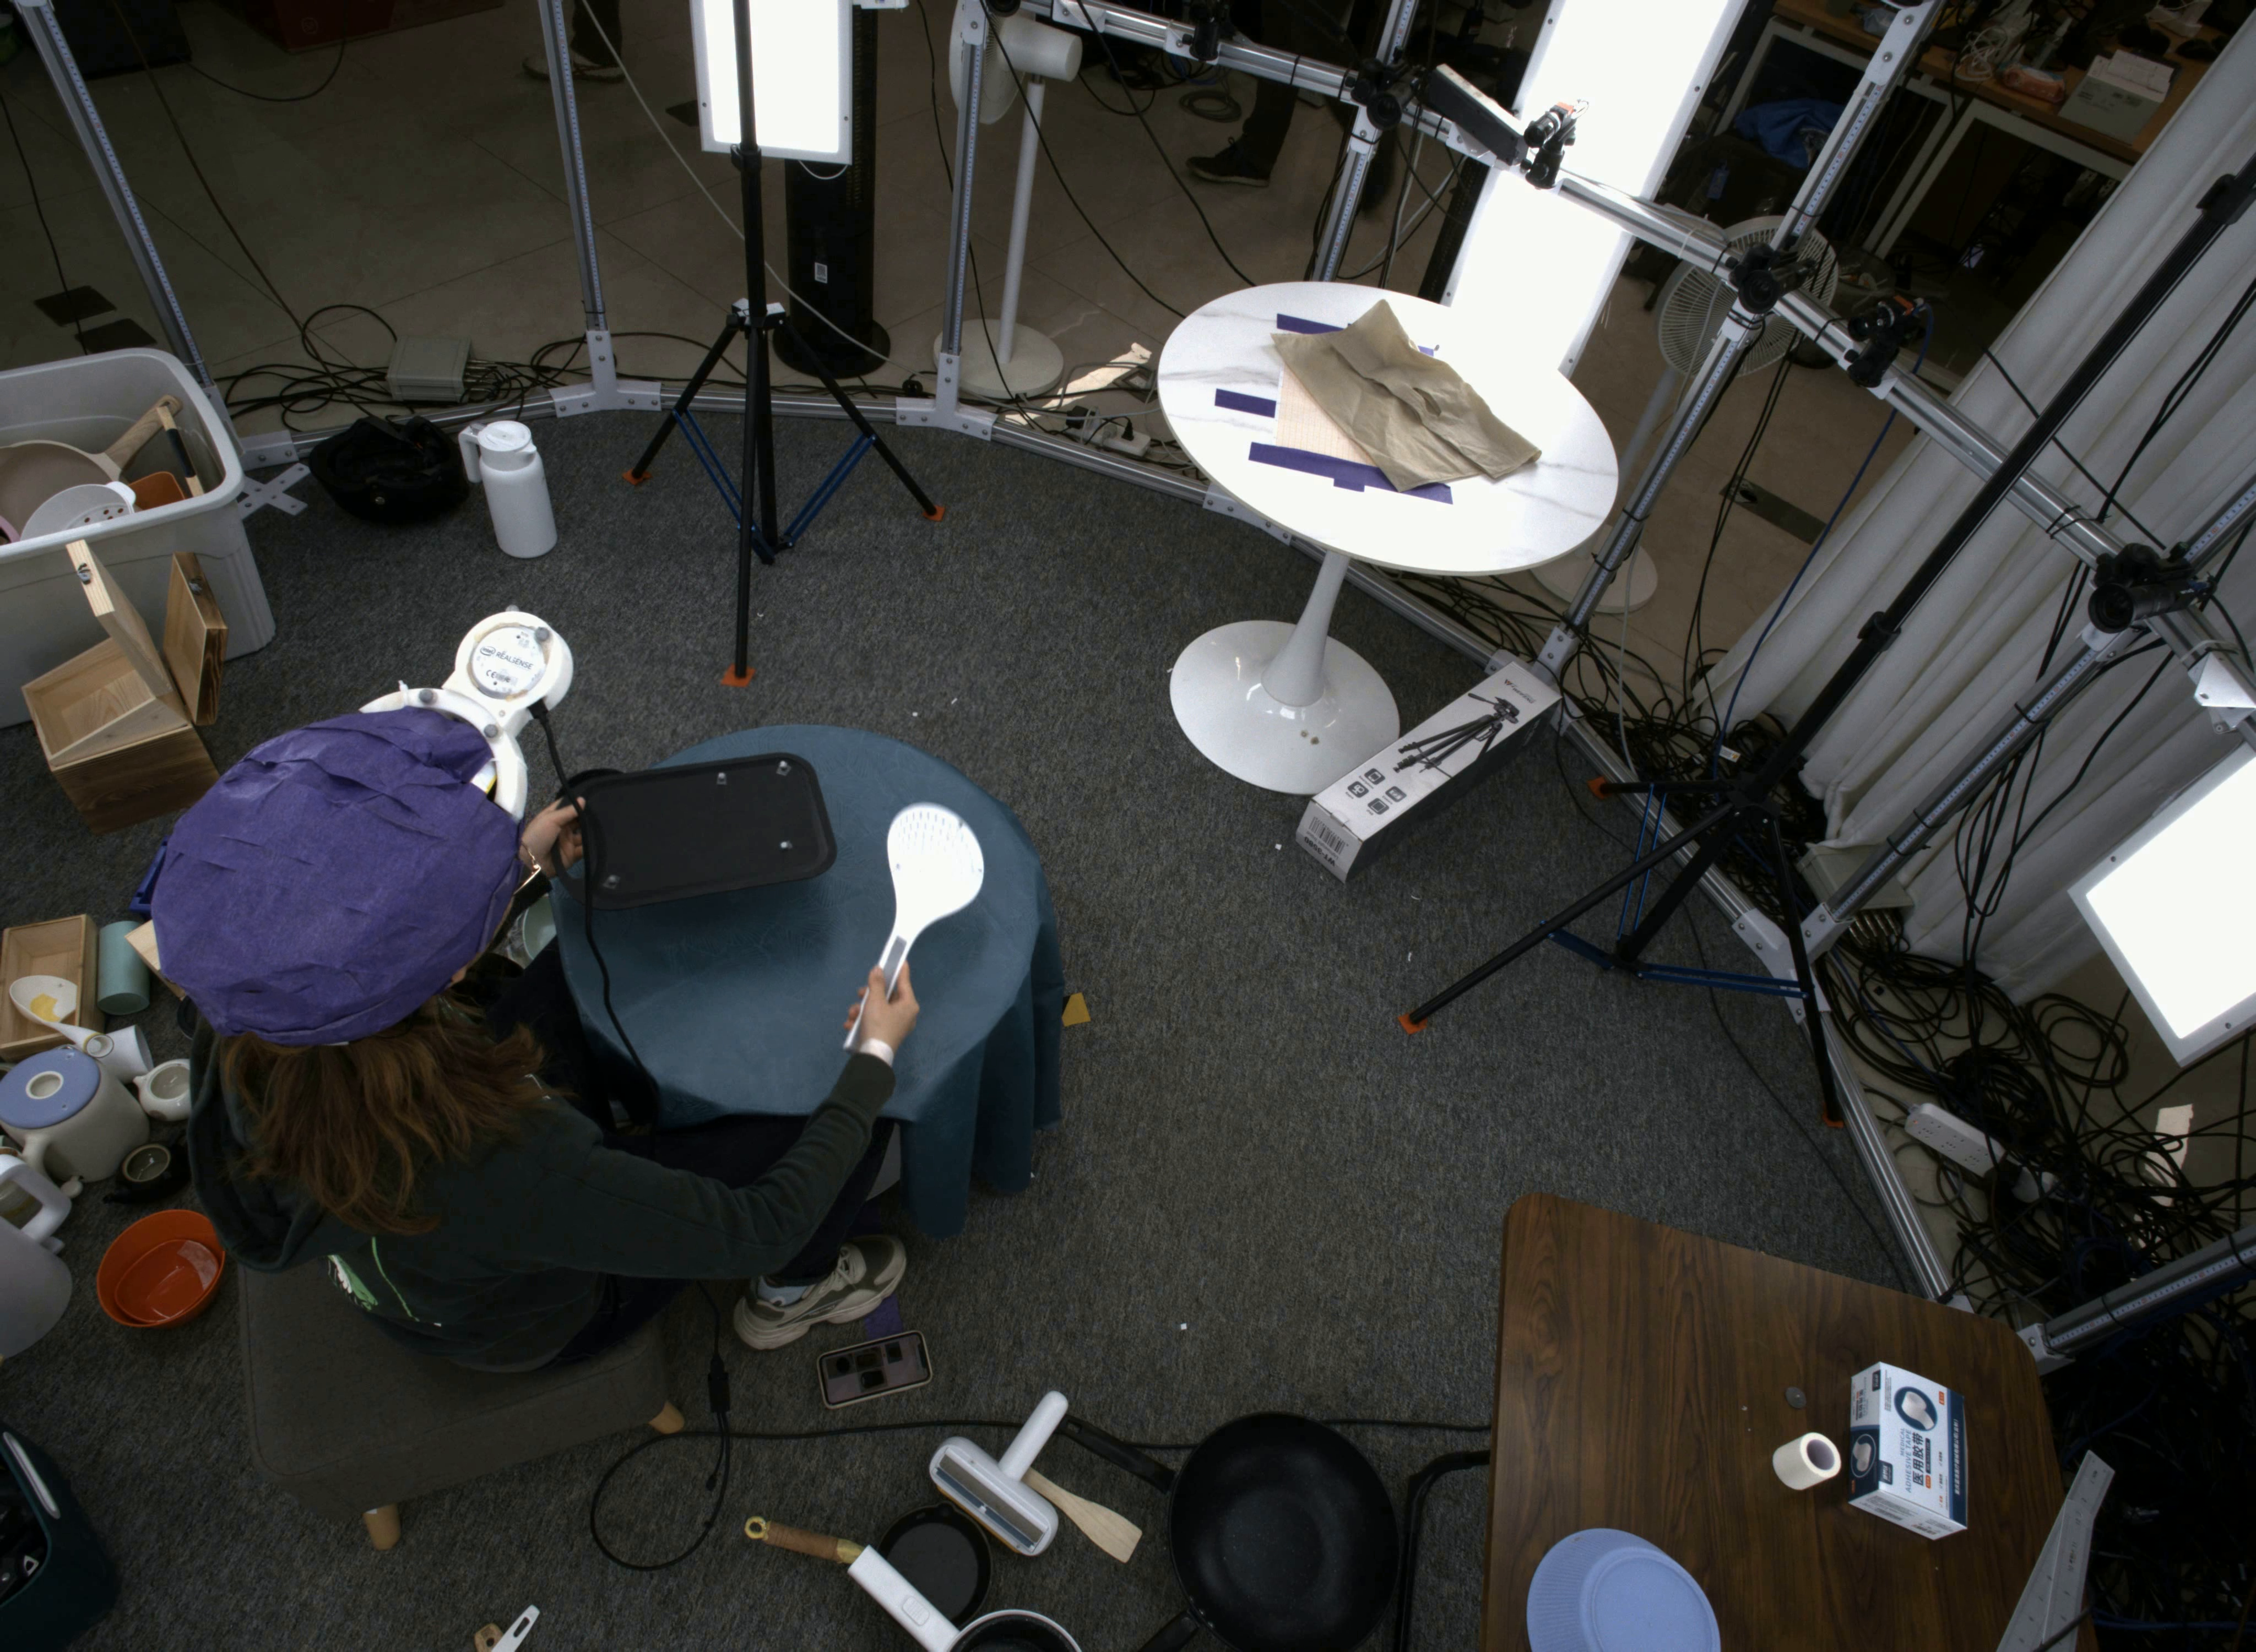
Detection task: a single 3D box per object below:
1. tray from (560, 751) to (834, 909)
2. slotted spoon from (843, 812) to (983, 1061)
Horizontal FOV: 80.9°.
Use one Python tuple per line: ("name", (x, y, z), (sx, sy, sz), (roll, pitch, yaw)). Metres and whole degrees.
("tray", (-0.527, -0.001, 1.551), (0.327, 0.010, 0.205), (-9, 54, -22))
("slotted spoon", (-0.265, 0.126, 1.547), (0.139, 0.045, 0.344), (37, 42, -22))
